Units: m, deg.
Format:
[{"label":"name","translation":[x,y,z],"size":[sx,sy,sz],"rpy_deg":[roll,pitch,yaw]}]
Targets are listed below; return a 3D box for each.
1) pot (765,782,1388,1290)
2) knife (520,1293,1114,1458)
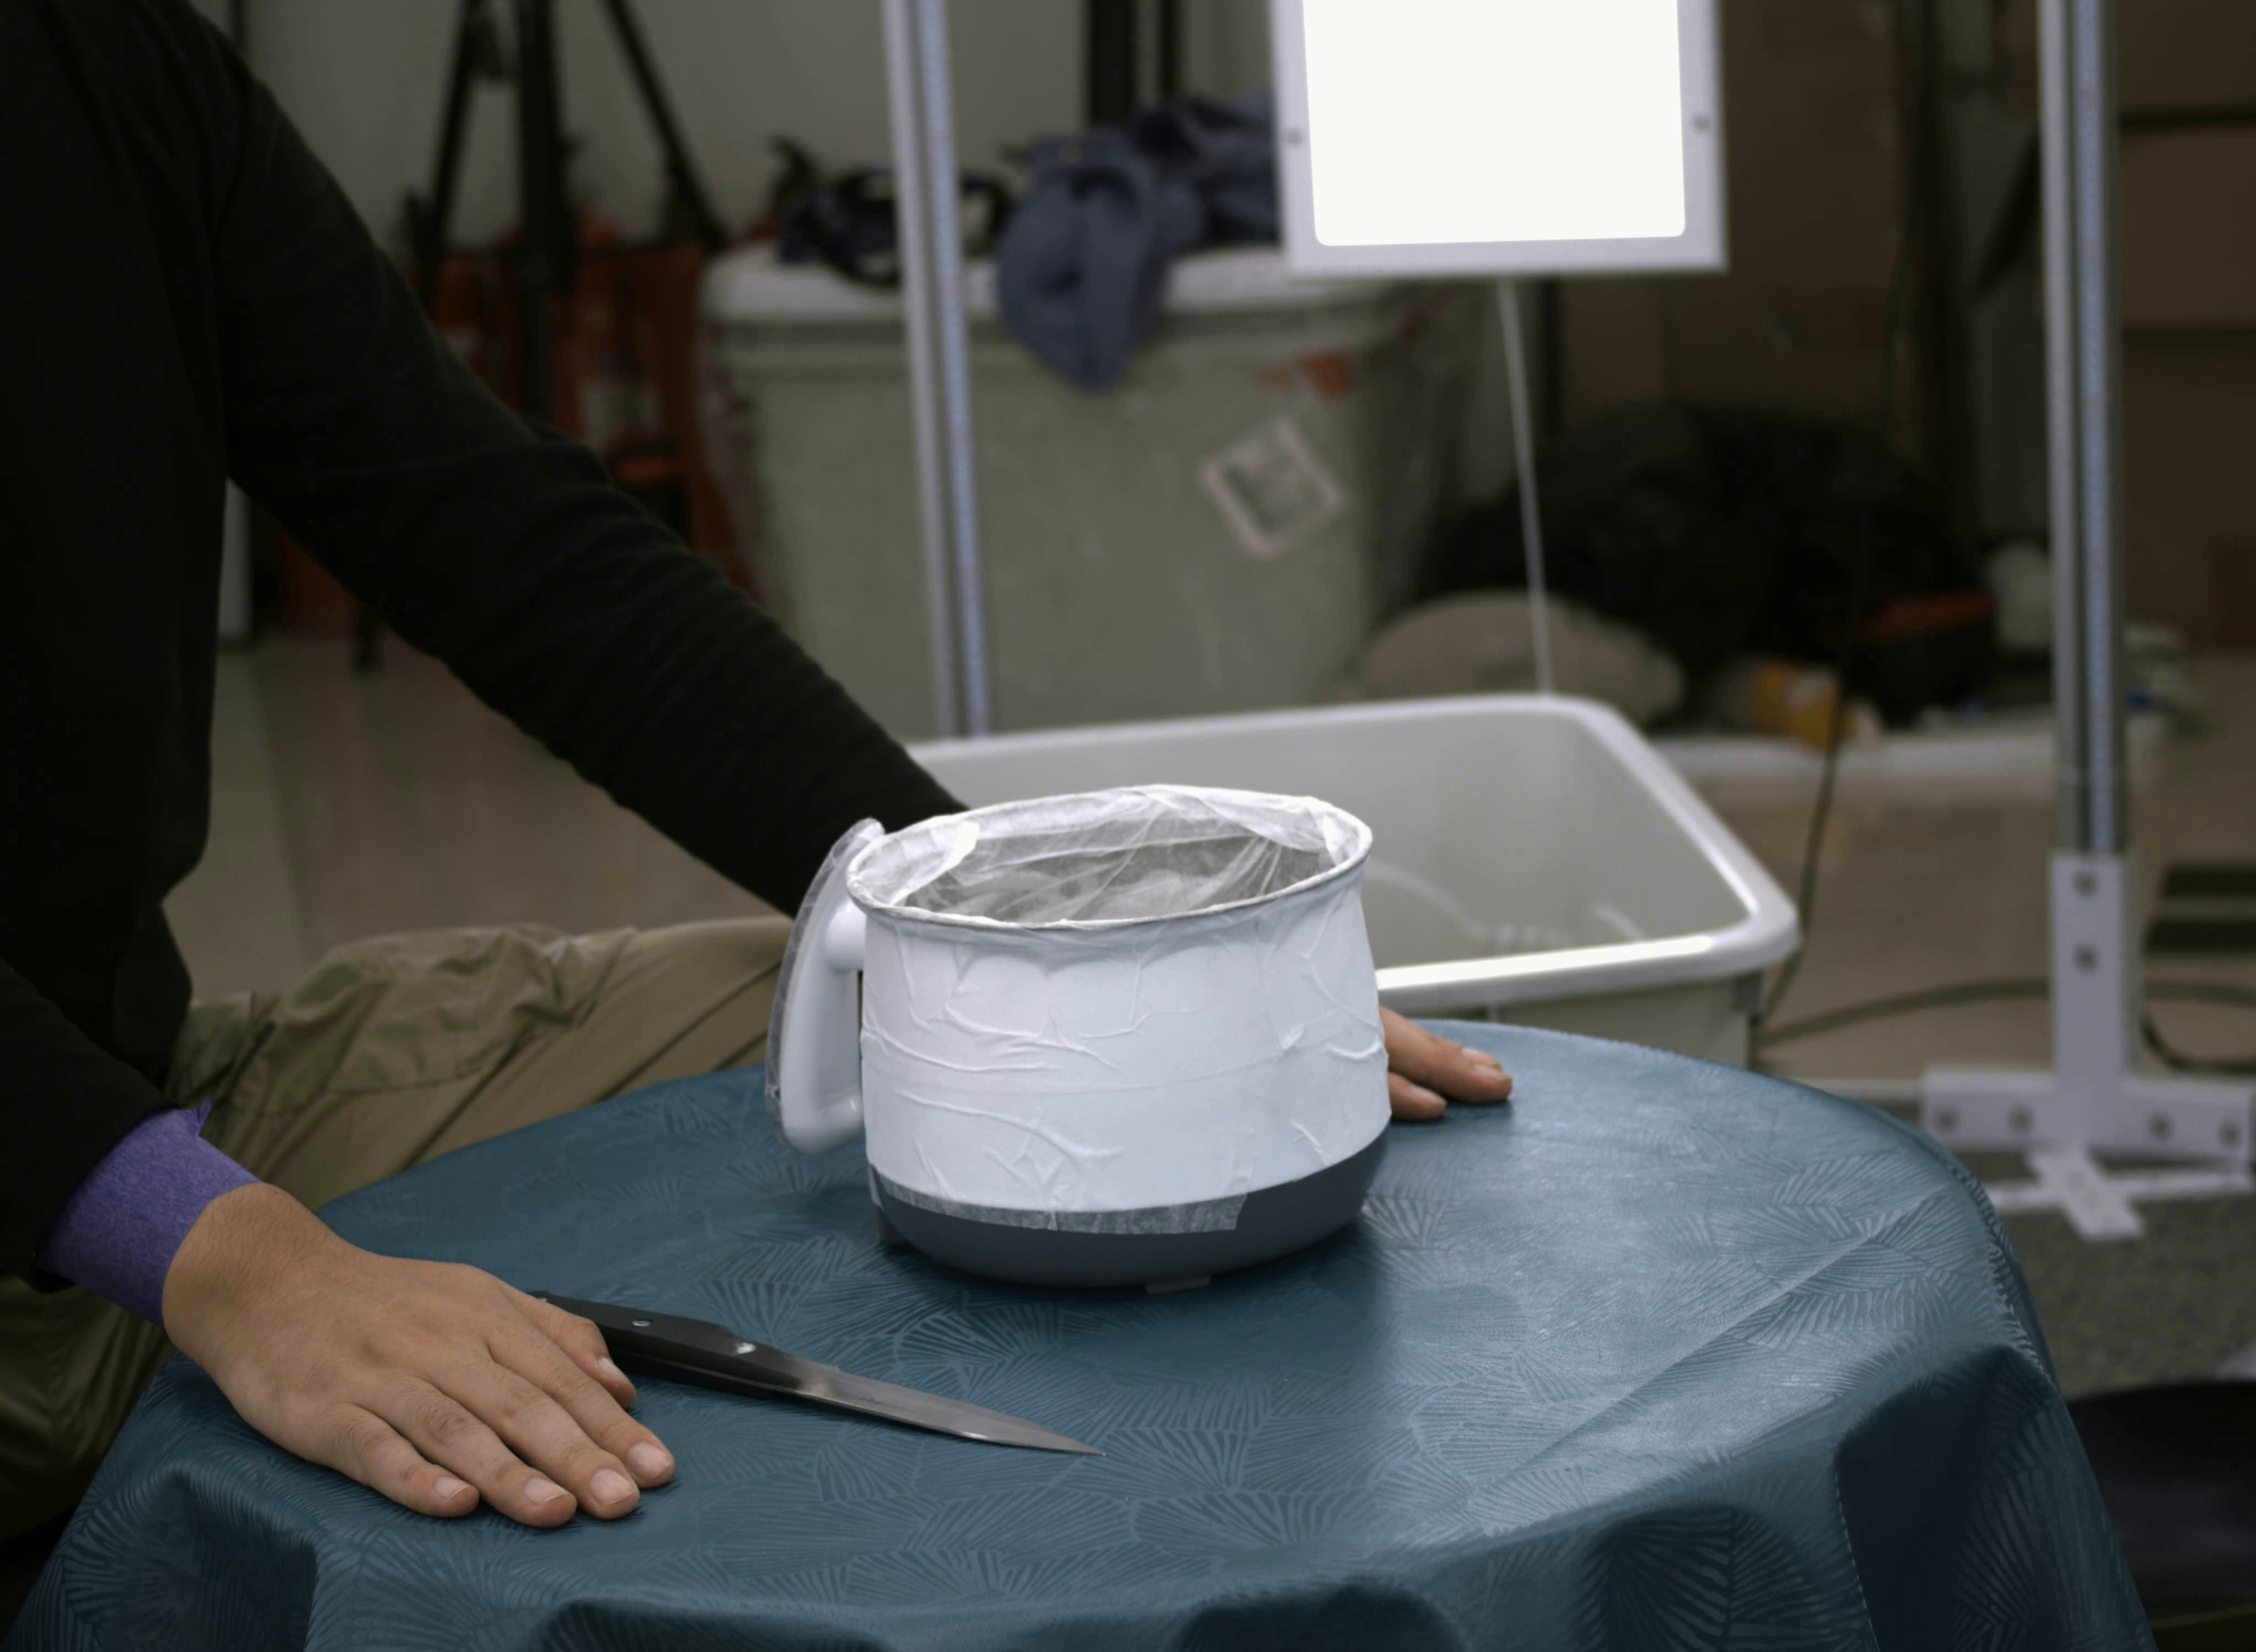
[{"label":"pot","translation":[-0.026,0.066,1.856],"size":[0.238,0.137,0.174],"rpy_deg":[6,16,33]},{"label":"knife","translation":[-0.102,0.174,1.722],"size":[0.243,0.016,0.024],"rpy_deg":[9,16,37]}]
